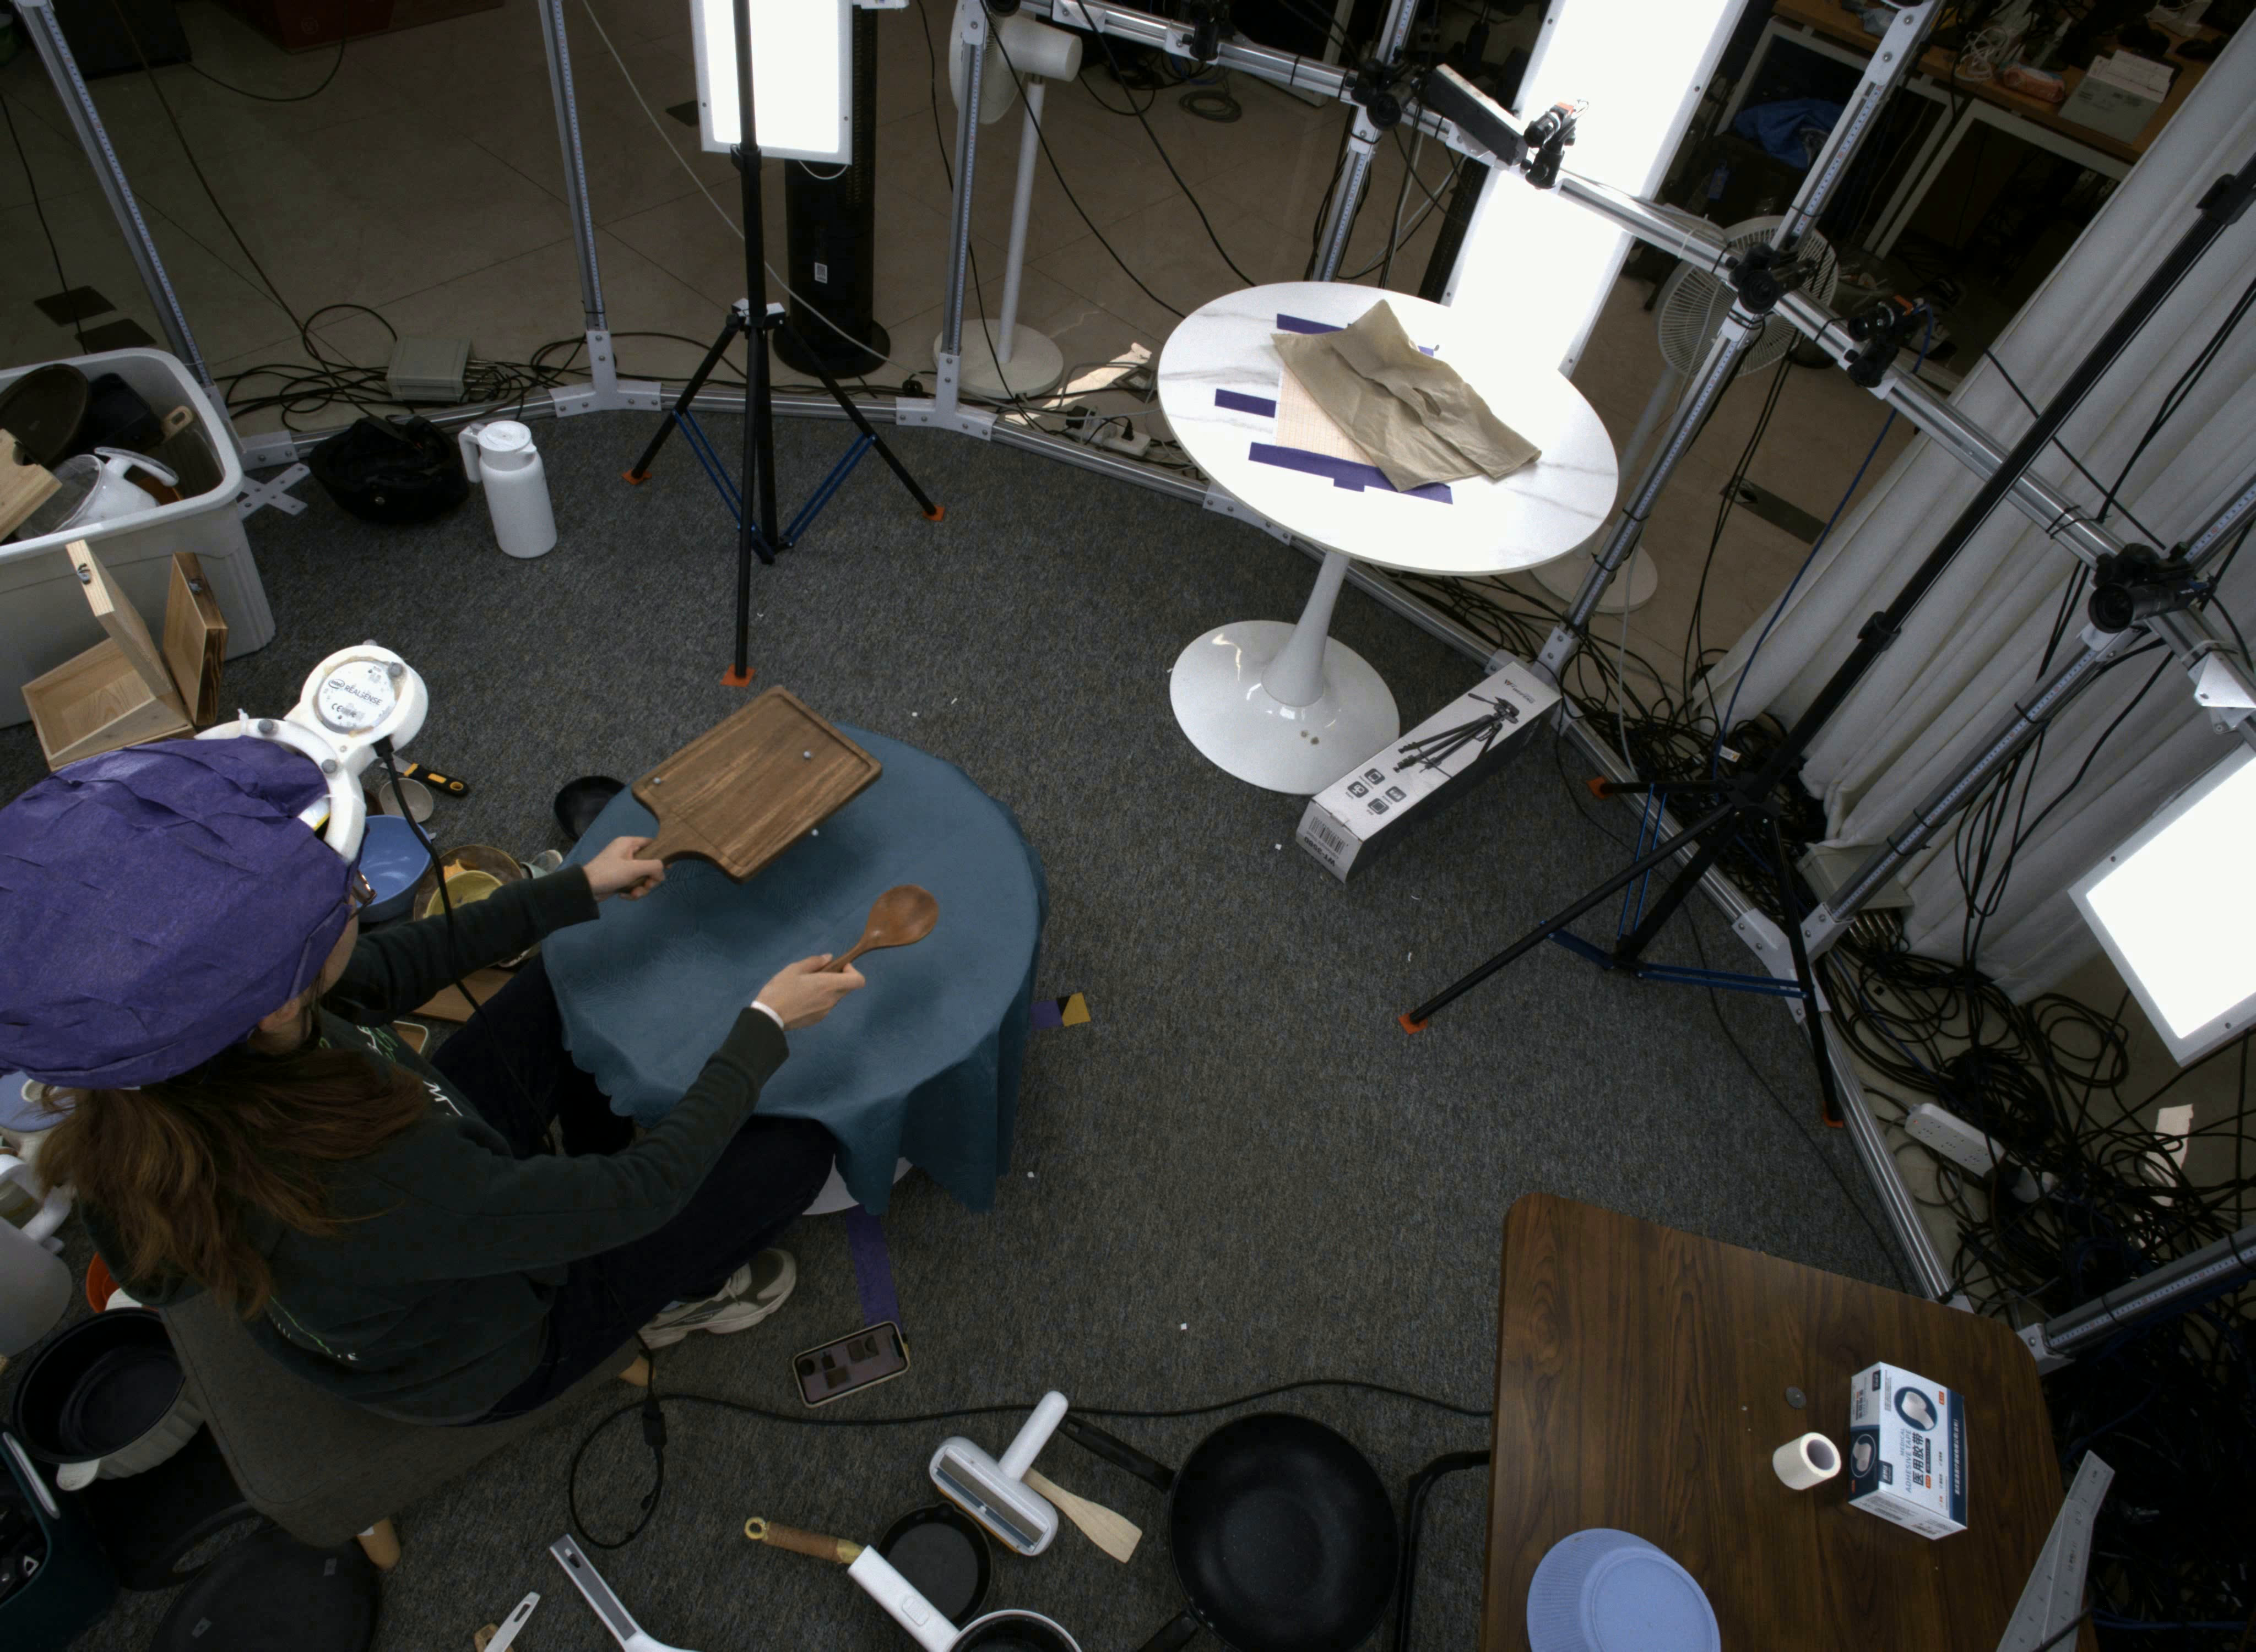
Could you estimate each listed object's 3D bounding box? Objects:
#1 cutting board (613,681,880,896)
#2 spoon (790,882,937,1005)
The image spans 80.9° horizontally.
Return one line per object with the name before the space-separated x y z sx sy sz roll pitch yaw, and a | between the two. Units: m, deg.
cutting board | -0.494 -0.032 1.589 0.198 0.023 0.352 38 55 11
spoon | -0.309 0.137 1.519 0.075 0.017 0.216 47 52 3
